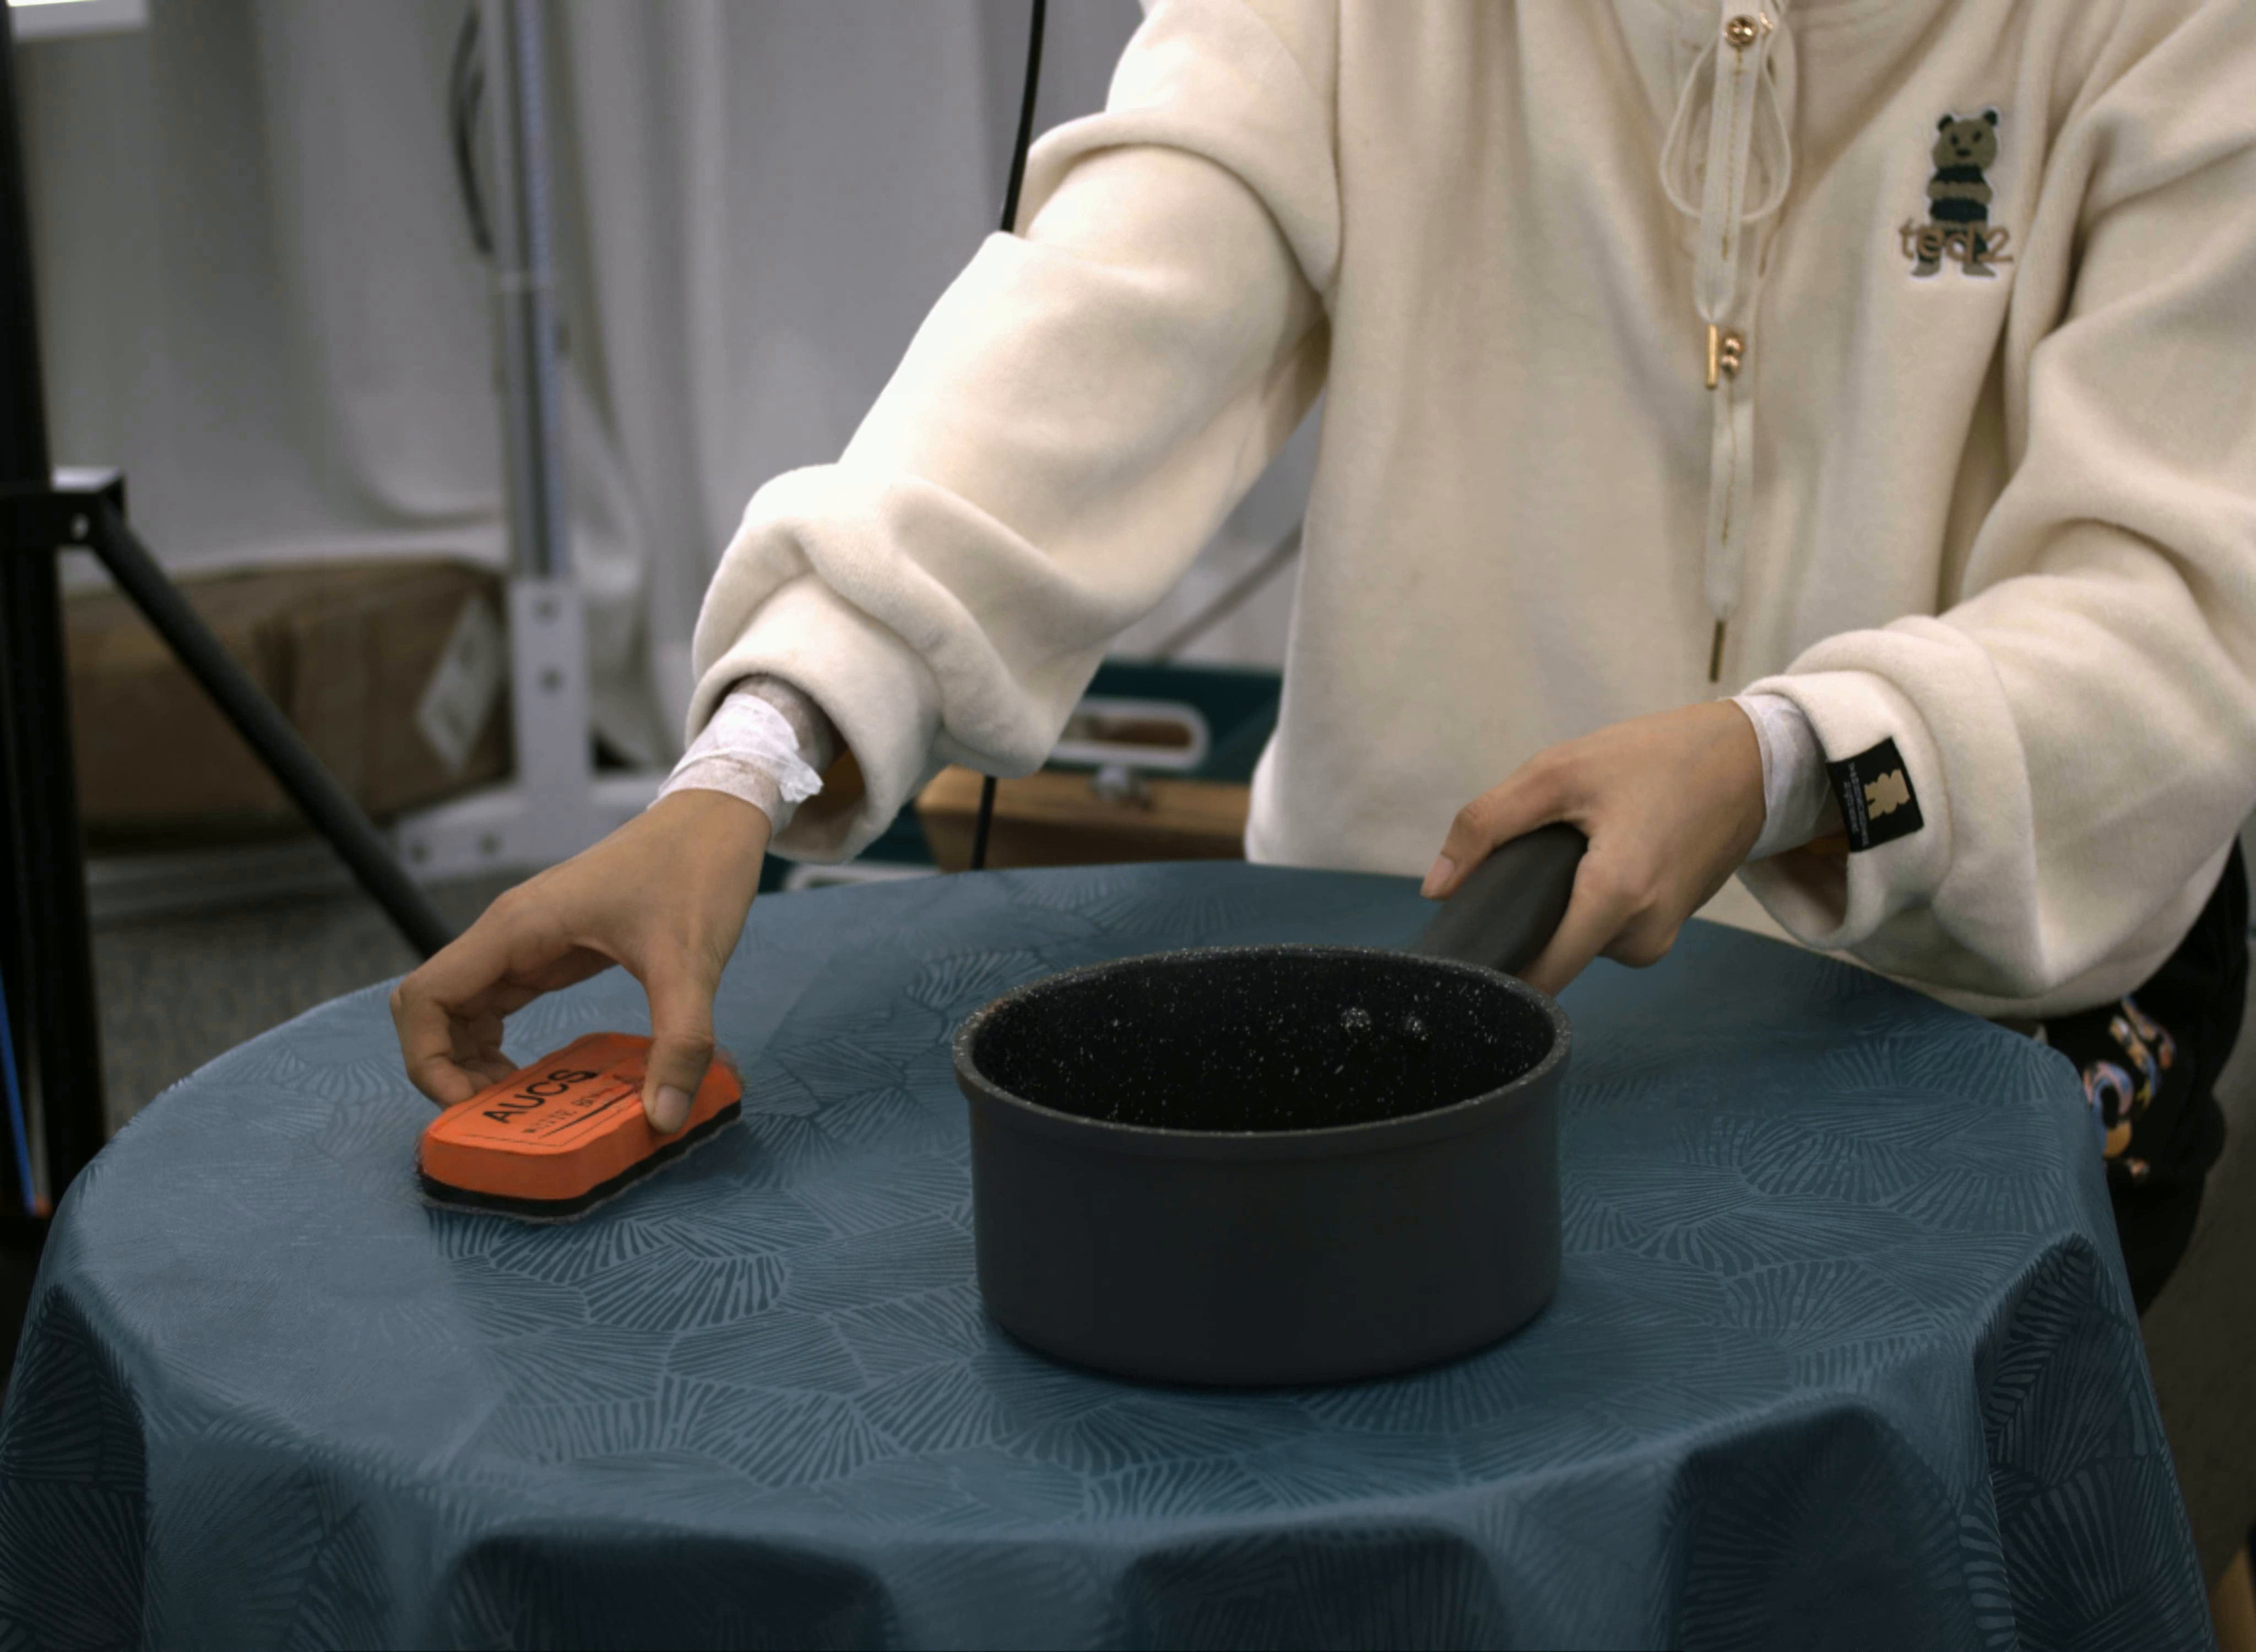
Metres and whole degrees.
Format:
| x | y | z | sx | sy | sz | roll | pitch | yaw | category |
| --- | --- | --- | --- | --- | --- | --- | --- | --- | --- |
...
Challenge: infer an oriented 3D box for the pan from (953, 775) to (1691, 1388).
| x | y | z | sx | sy | sz | roll | pitch | yaw | category |
| --- | --- | --- | --- | --- | --- | --- | --- | --- | --- |
| 0.078 | 0.069 | 1.526 | 0.175 | 0.086 | 0.323 | 7 | 20 | 31 | pan |

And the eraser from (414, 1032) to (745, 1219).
| x | y | z | sx | sy | sz | roll | pitch | yaw | category |
| --- | --- | --- | --- | --- | --- | --- | --- | --- | --- |
| -0.164 | 0.090 | 1.606 | 0.060 | 0.023 | 0.106 | 5 | 18 | 28 | eraser |
